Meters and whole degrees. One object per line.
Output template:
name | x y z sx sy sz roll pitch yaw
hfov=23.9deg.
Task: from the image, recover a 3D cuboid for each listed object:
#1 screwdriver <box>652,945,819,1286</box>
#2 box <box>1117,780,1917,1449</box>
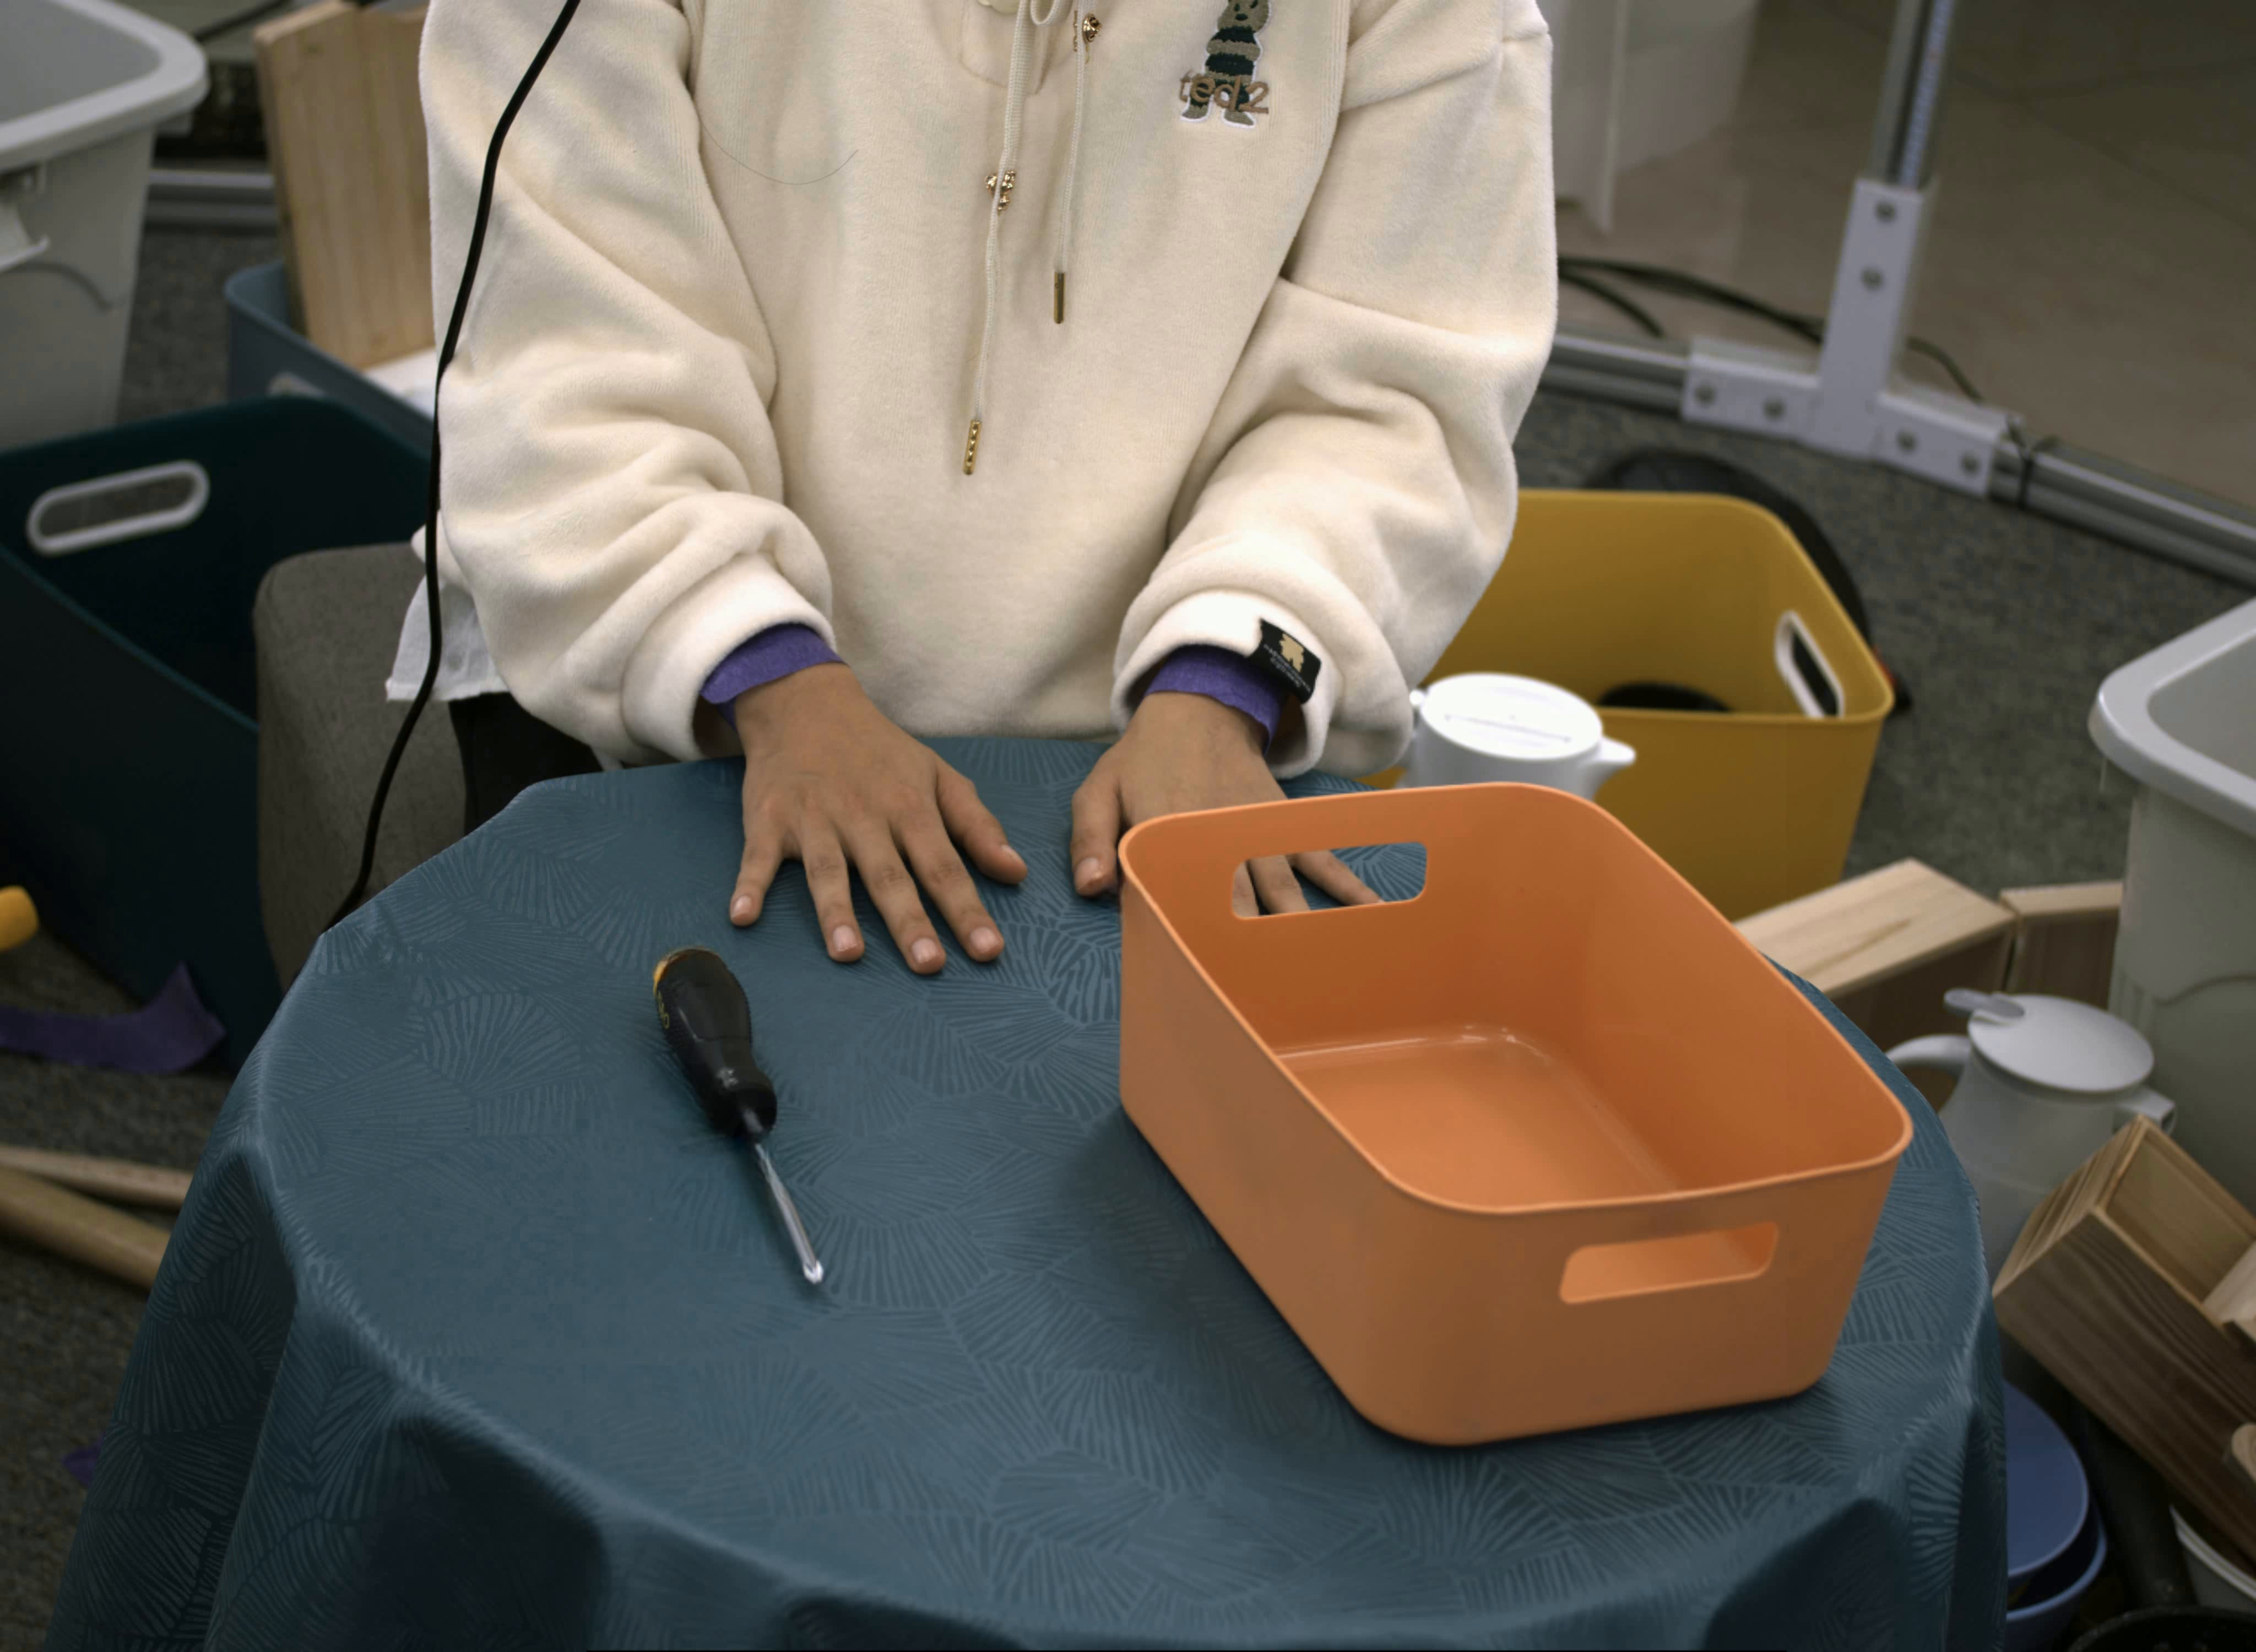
screwdriver | -0.133 0.099 1.798 0.031 0.031 0.198 -1 31 -16
box | 0.120 0.094 1.773 0.198 0.102 0.276 -6 30 -23
